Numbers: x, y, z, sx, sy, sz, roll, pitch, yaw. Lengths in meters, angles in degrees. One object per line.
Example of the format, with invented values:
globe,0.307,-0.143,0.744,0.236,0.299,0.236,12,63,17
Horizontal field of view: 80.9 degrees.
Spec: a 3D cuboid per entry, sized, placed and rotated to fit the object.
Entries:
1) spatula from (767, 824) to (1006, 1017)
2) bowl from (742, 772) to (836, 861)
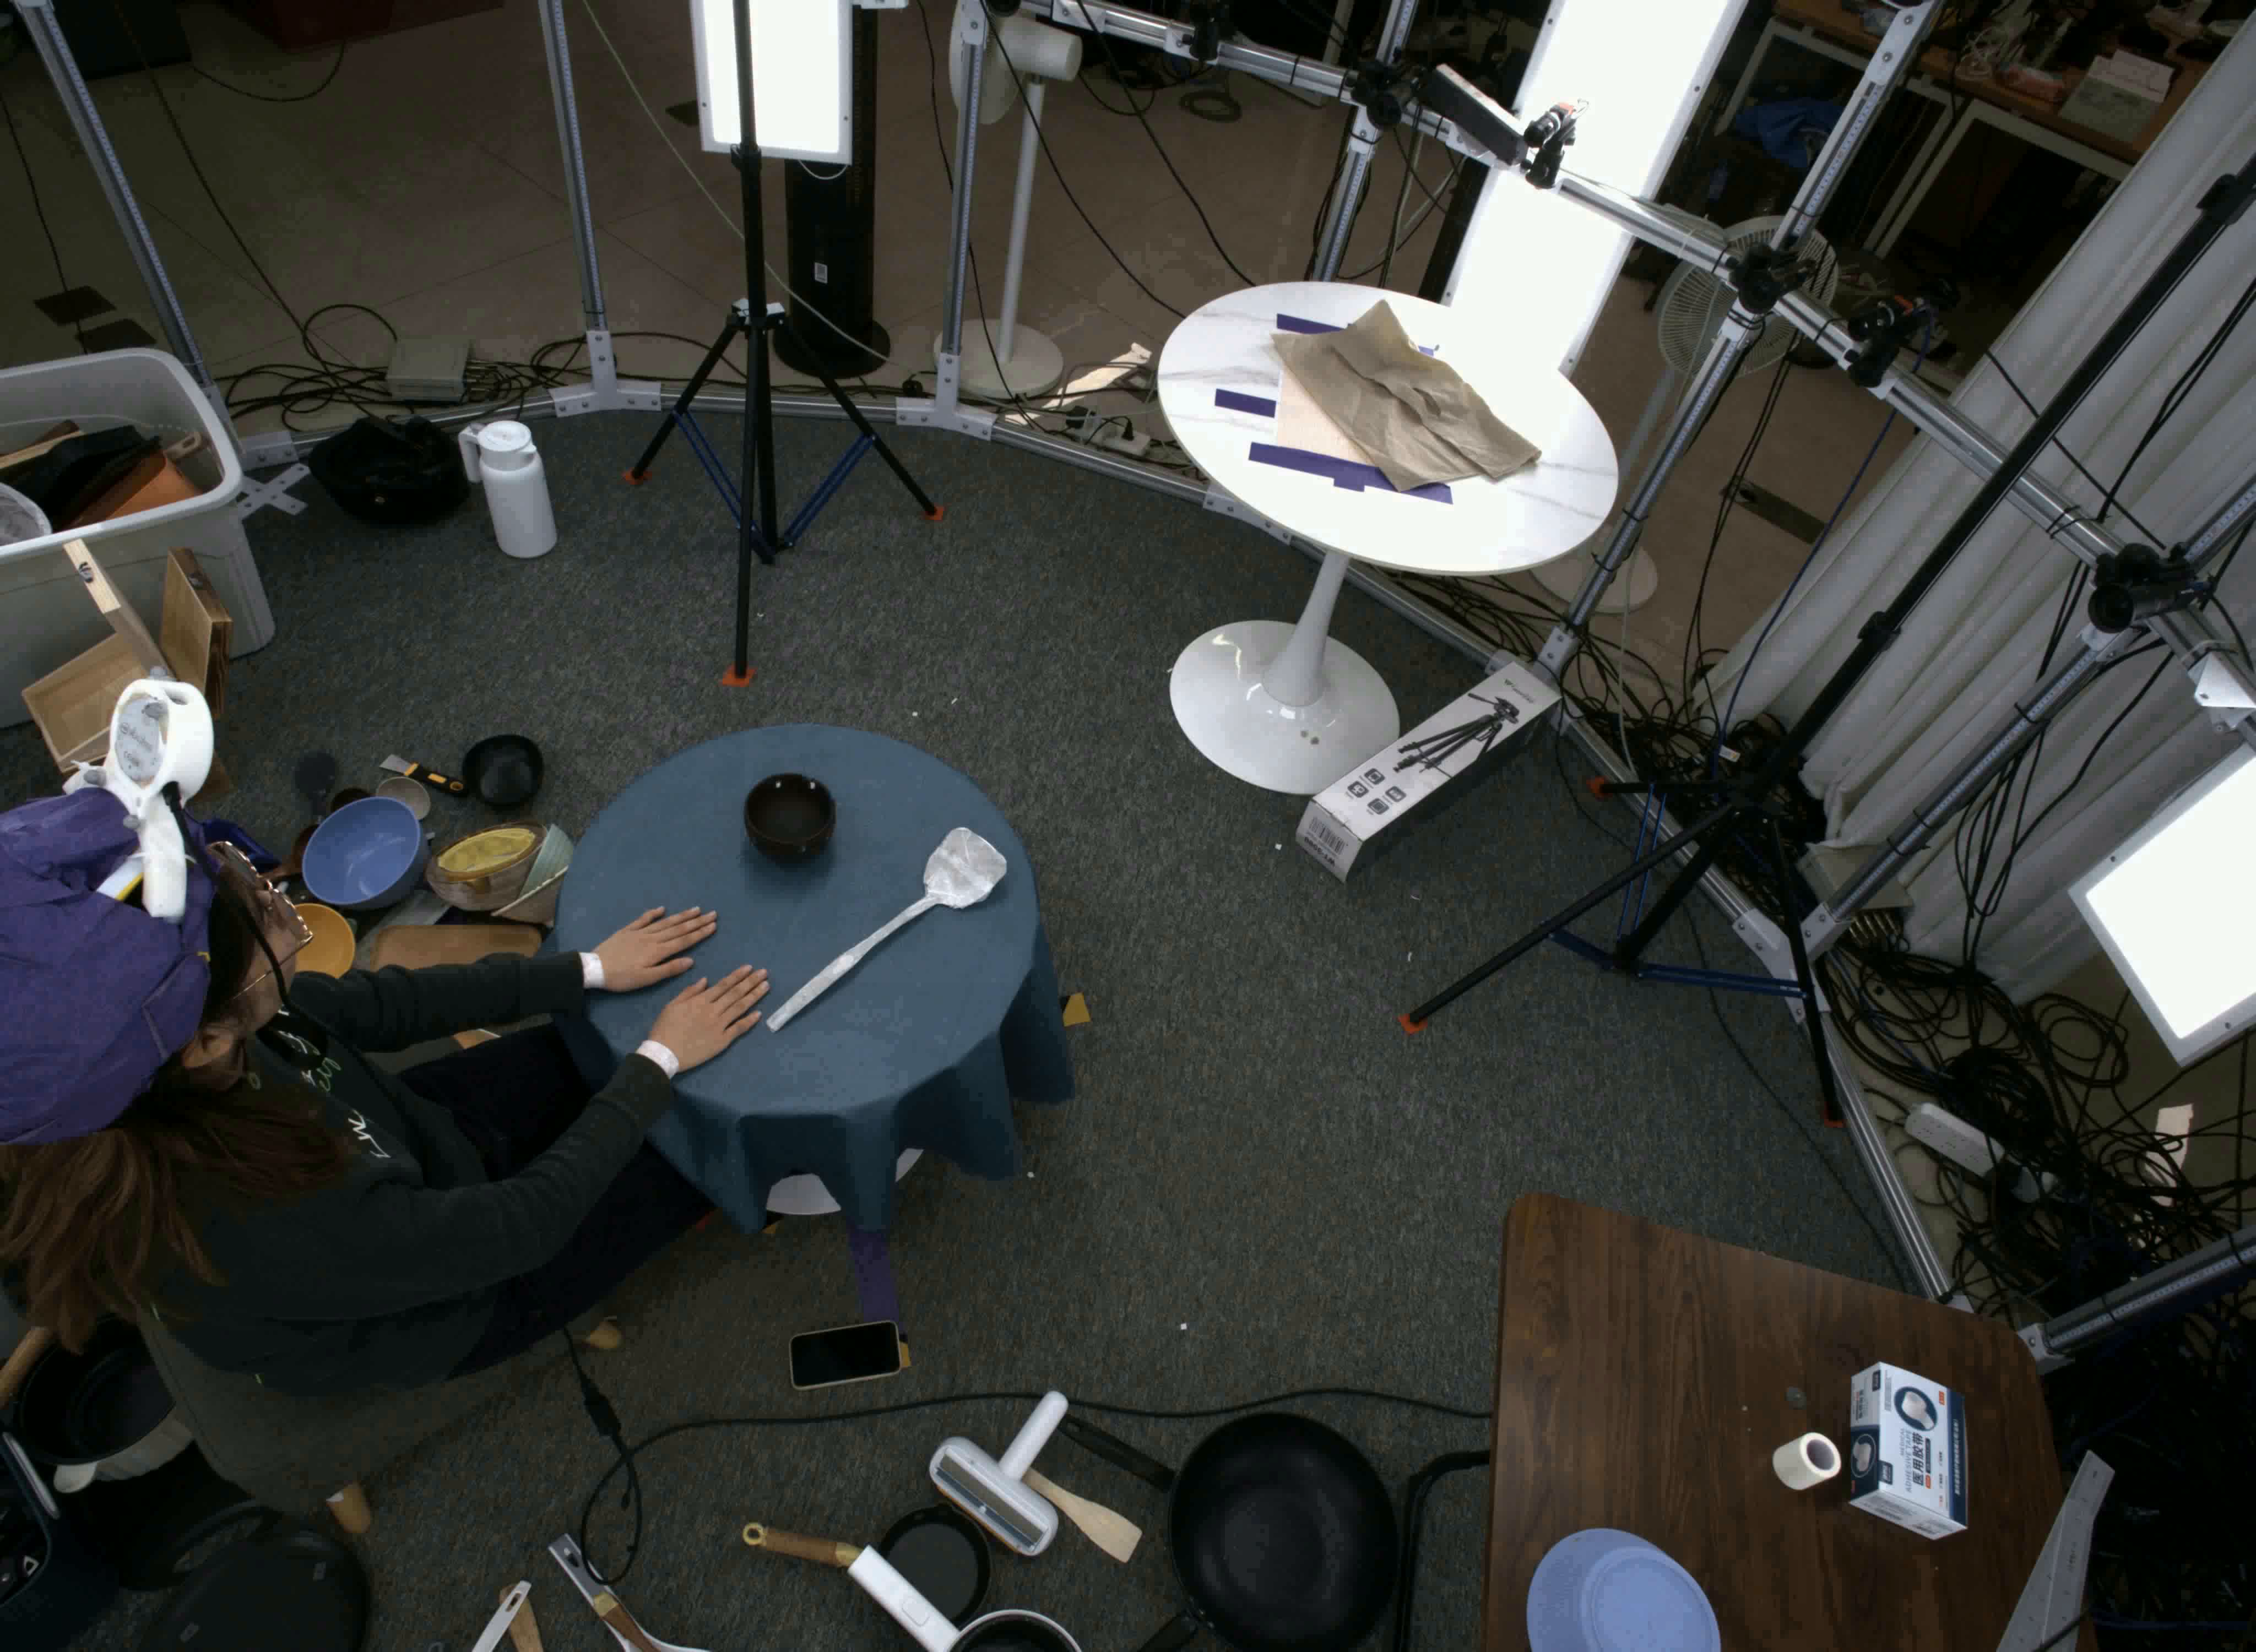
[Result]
spatula,-0.306,0.124,1.642,0.097,0.045,0.365,41,55,15
bowl,-0.439,-0.005,1.683,0.117,0.071,0.116,6,52,-7
